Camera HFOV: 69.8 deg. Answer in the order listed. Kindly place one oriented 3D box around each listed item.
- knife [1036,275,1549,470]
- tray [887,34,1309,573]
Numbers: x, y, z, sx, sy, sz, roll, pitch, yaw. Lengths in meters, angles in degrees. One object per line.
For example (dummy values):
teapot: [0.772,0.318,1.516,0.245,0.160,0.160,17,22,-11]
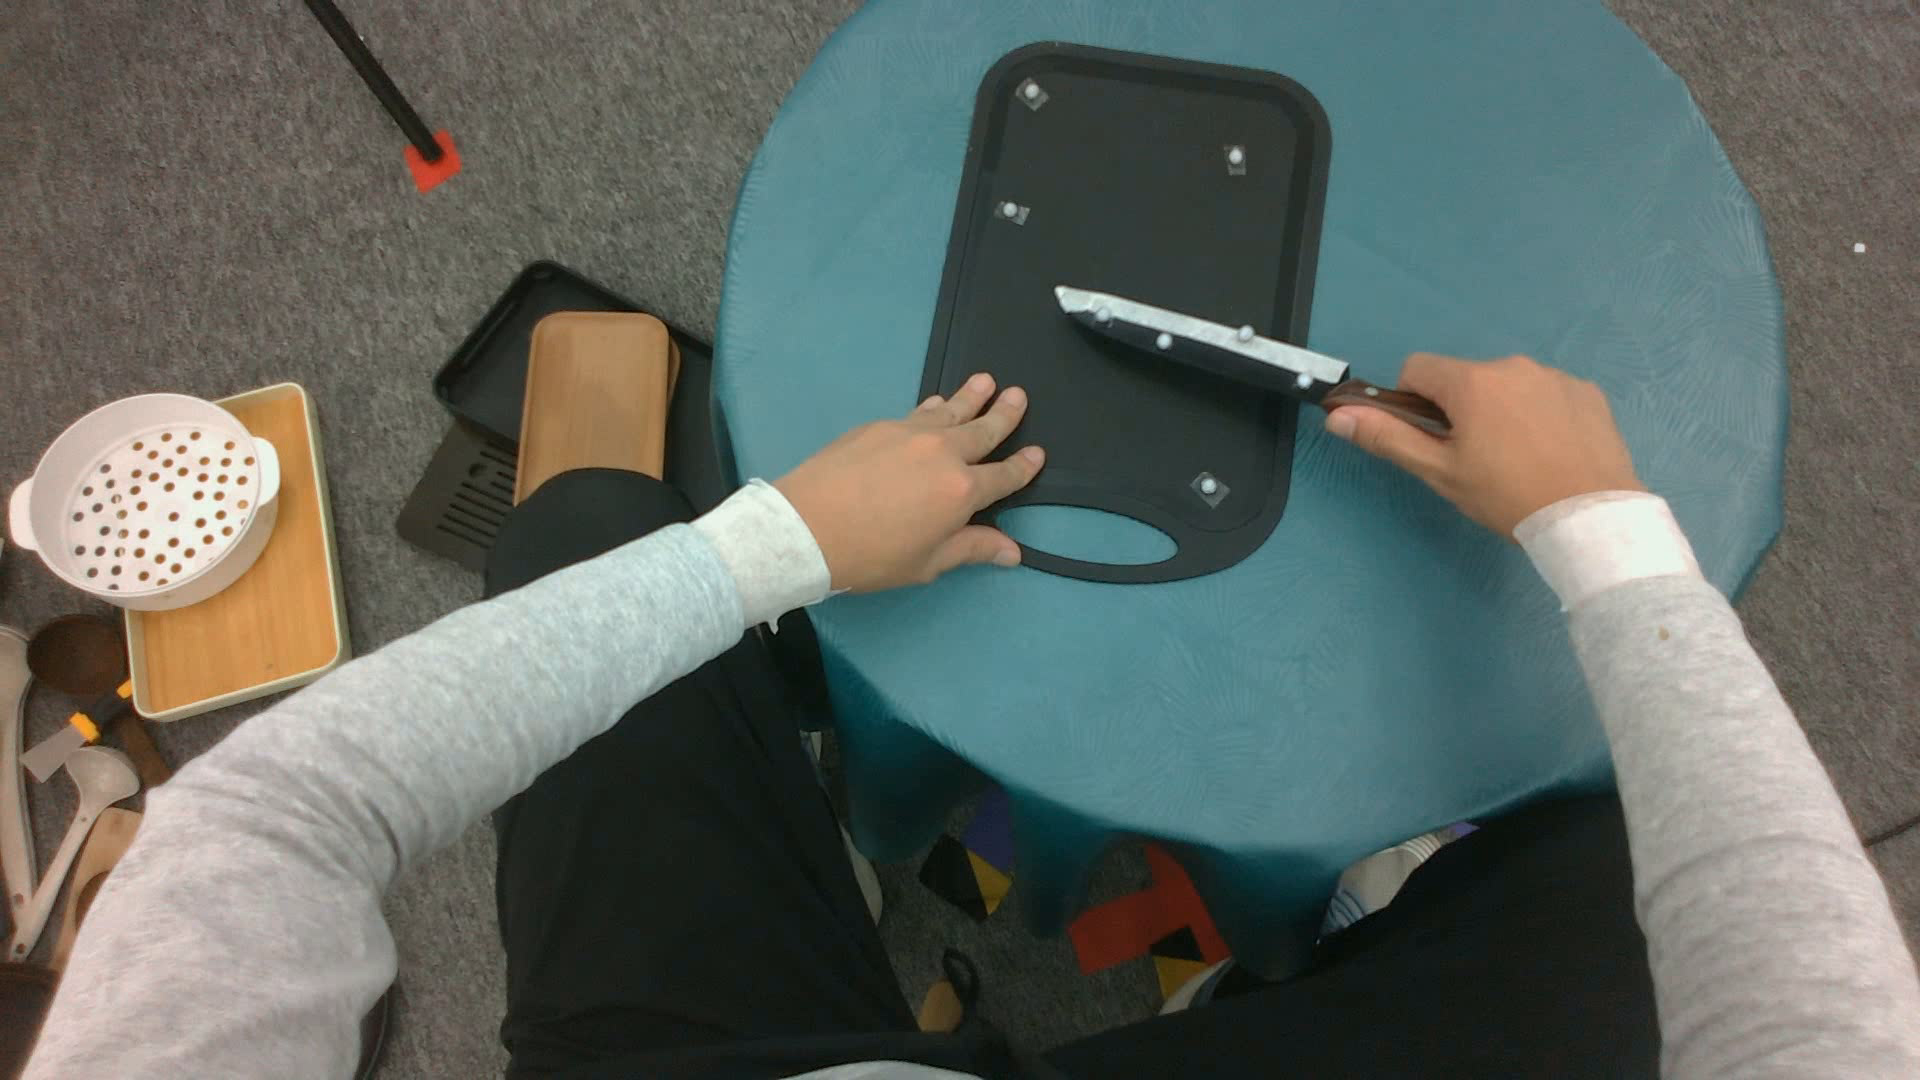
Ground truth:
knife: [0.170,-0.096,0.738,0.289,0.020,0.050,22,44,17]
tray: [0.081,-0.140,0.780,0.211,0.010,0.326,10,74,3]
